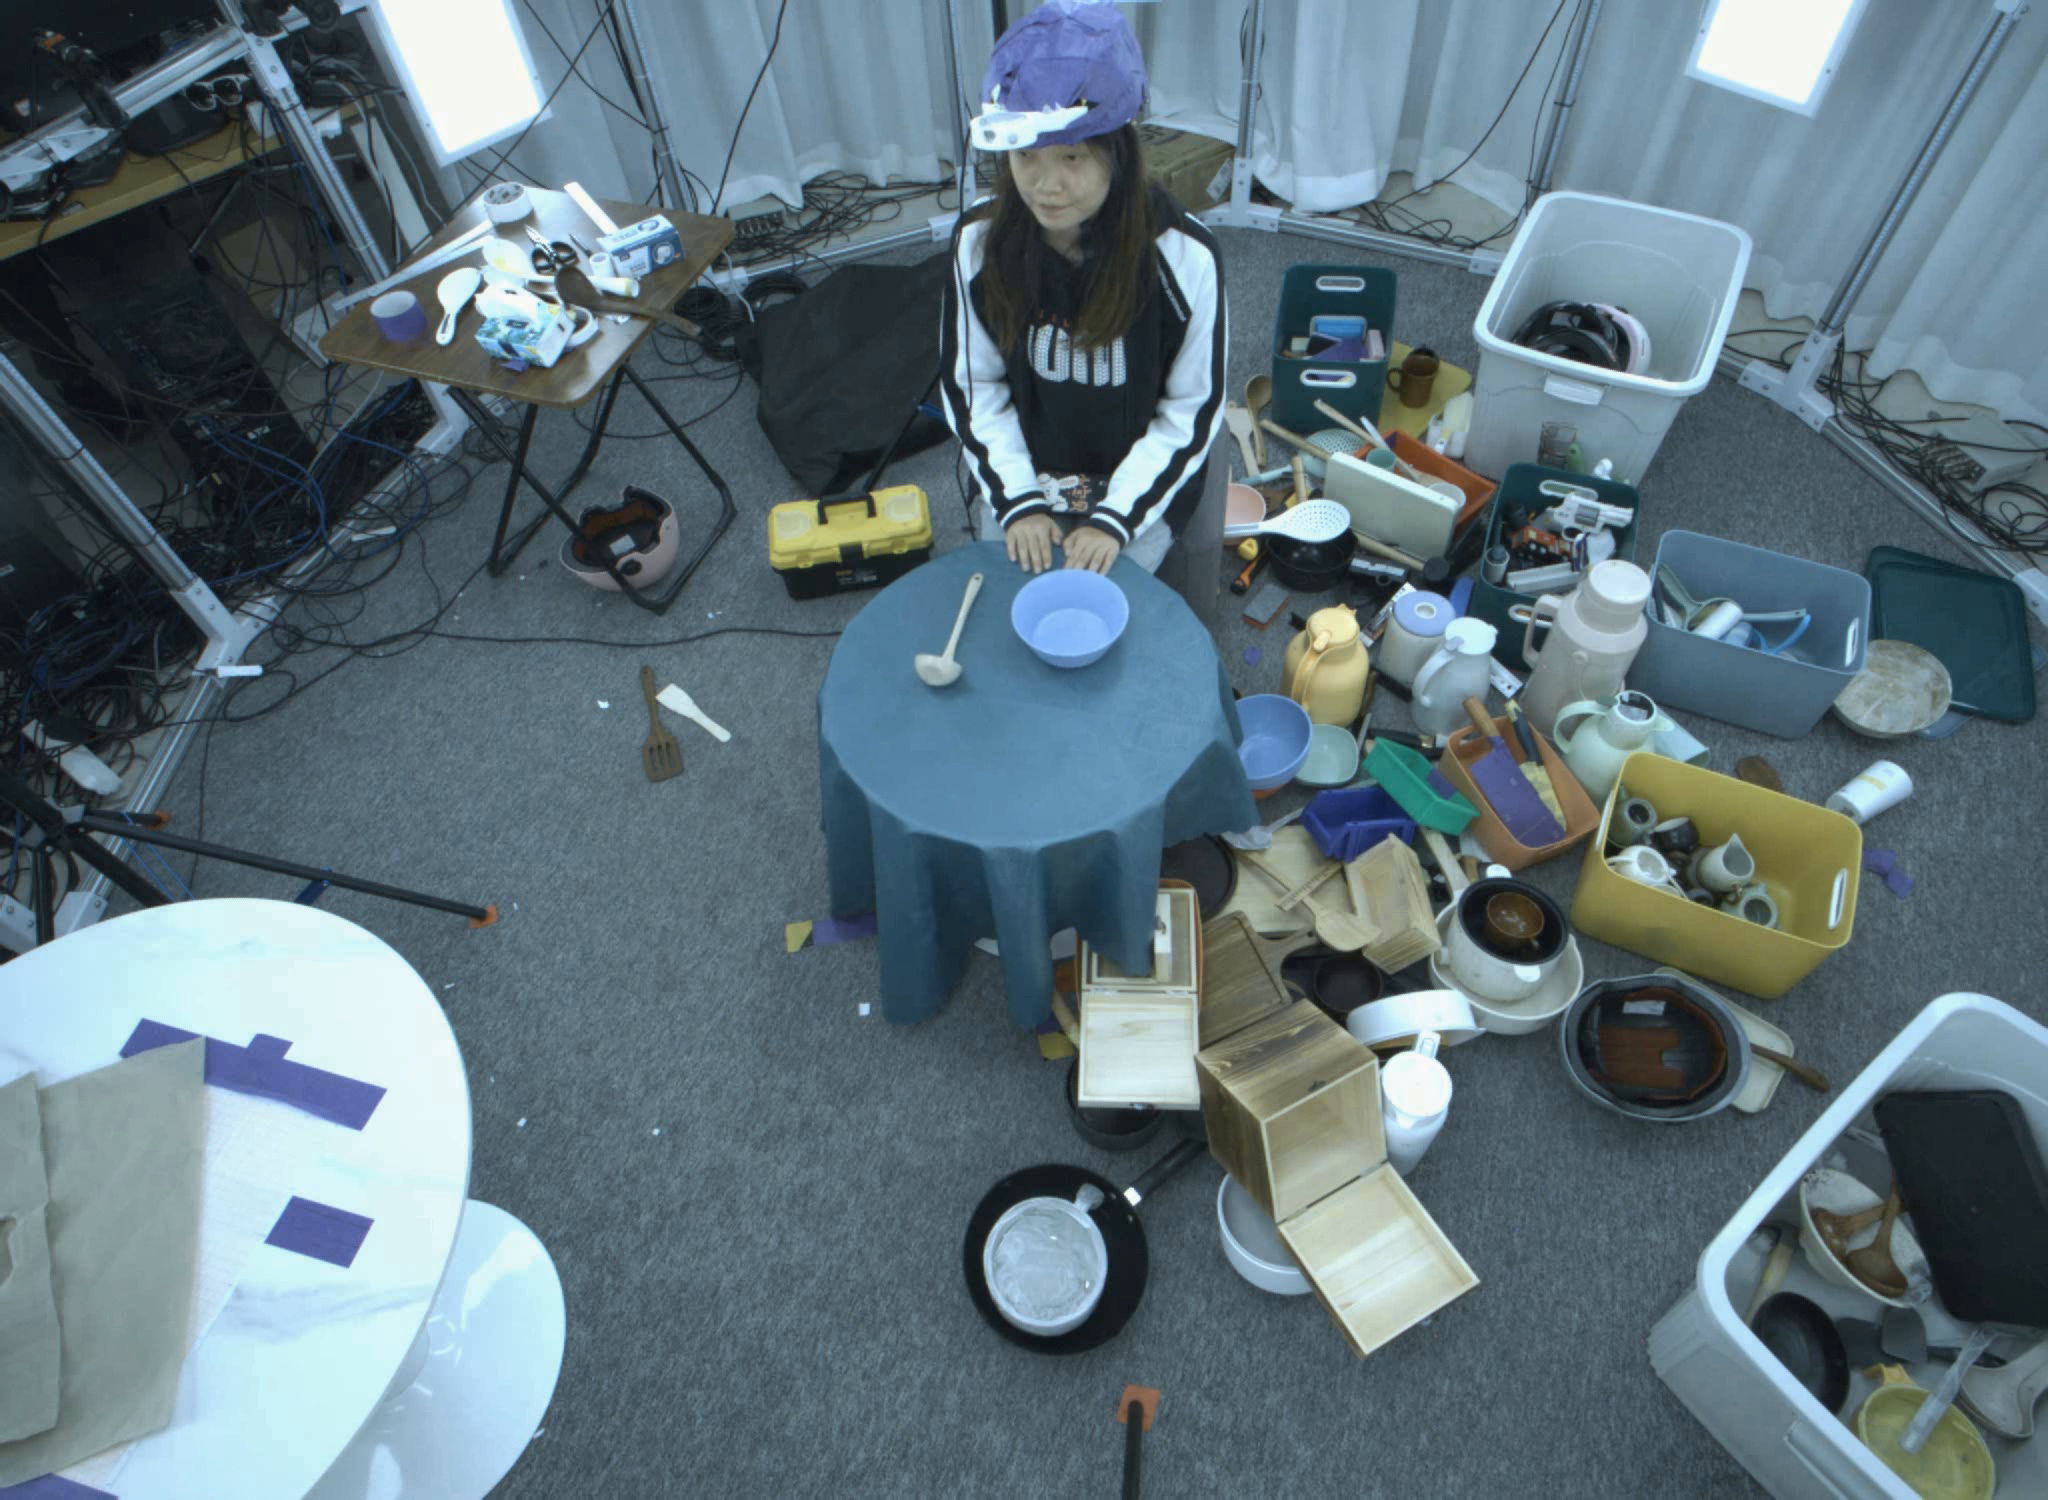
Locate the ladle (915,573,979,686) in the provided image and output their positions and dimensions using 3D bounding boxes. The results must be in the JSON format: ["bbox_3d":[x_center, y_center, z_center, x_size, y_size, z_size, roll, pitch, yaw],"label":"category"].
[{"bbox_3d":[-0.108,-0.207,1.893,0.072,0.073,0.253,9,56,8],"label":"ladle"}]

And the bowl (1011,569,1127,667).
[{"bbox_3d":[0.069,-0.192,1.878,0.176,0.071,0.174,0,55,1],"label":"bowl"}]
